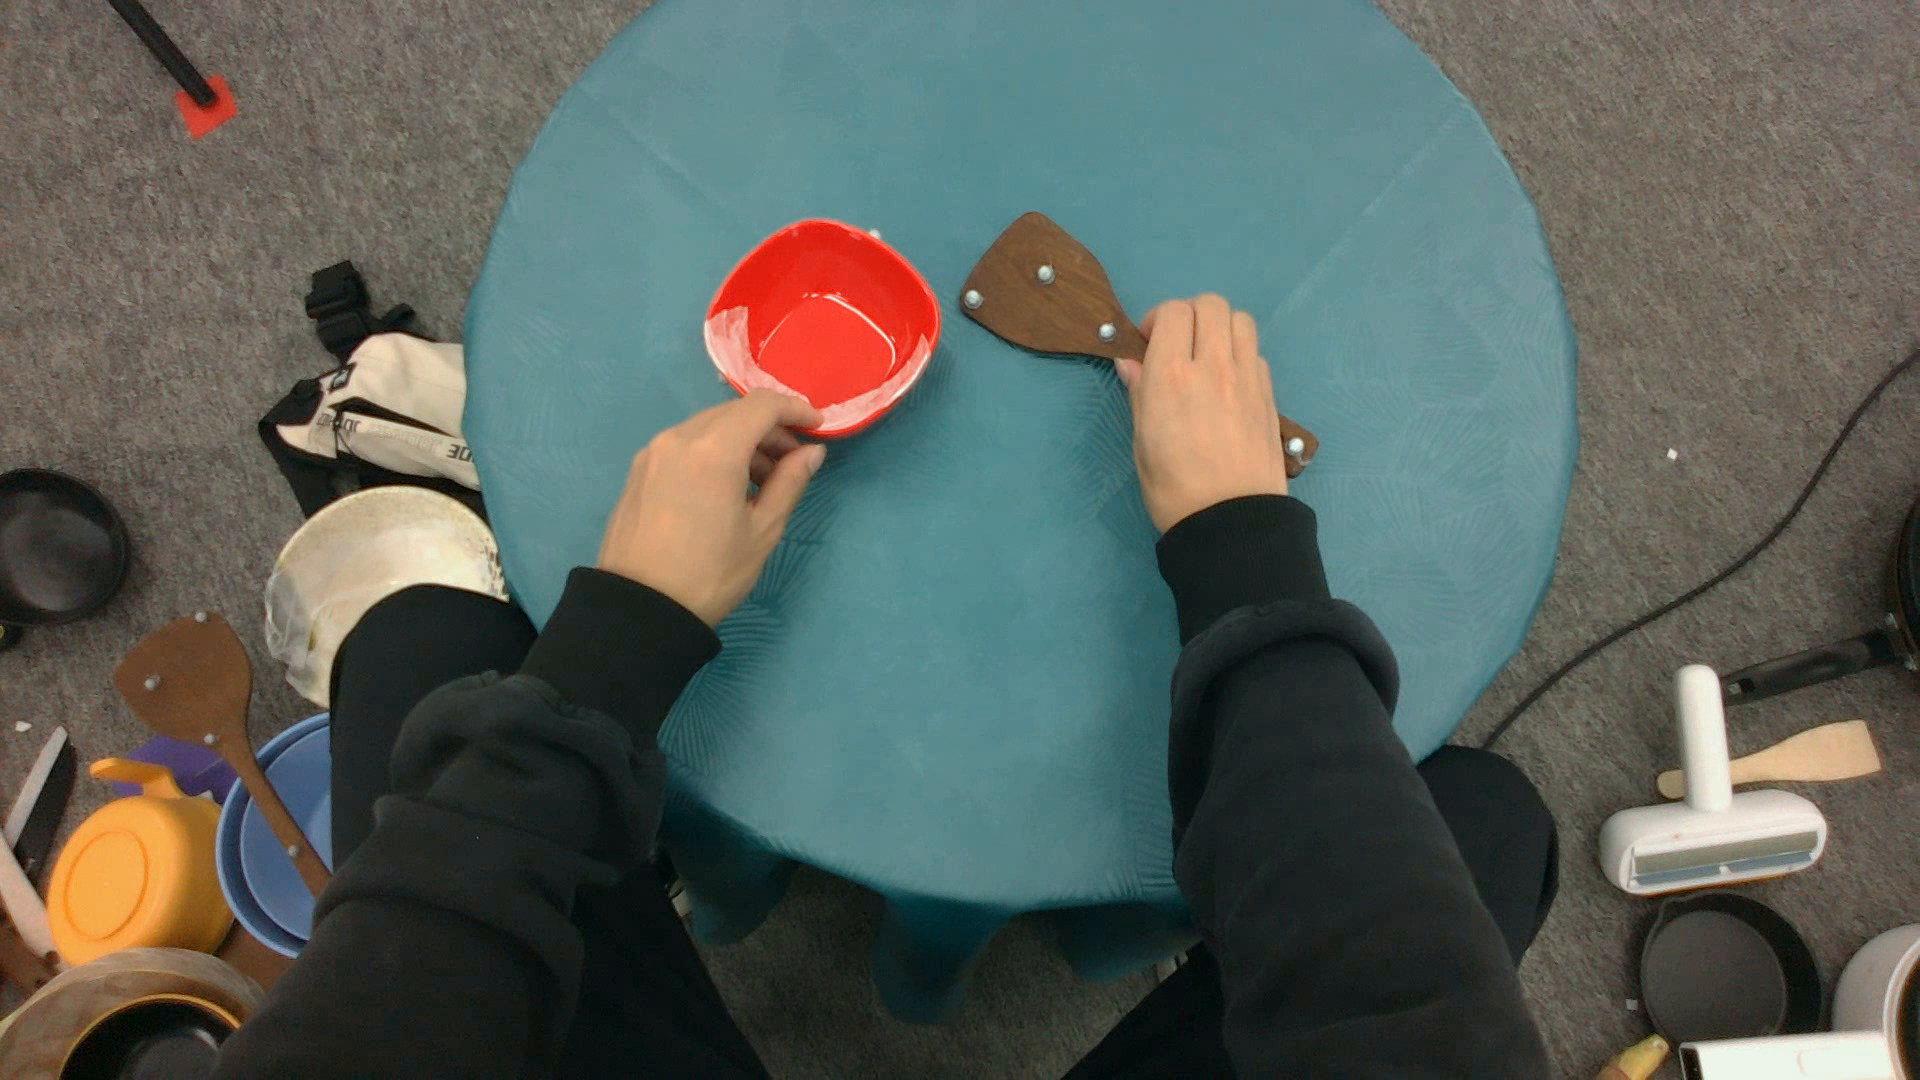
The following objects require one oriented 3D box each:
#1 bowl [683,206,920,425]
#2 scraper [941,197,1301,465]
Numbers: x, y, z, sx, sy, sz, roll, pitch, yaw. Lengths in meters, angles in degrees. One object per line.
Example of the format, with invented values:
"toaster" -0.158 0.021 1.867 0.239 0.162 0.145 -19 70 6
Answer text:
"bowl" -0.080 -0.108 0.714 0.119 0.051 0.119 1 72 -3
"scraper" 0.088 -0.106 0.736 0.211 0.011 0.076 36 79 13
